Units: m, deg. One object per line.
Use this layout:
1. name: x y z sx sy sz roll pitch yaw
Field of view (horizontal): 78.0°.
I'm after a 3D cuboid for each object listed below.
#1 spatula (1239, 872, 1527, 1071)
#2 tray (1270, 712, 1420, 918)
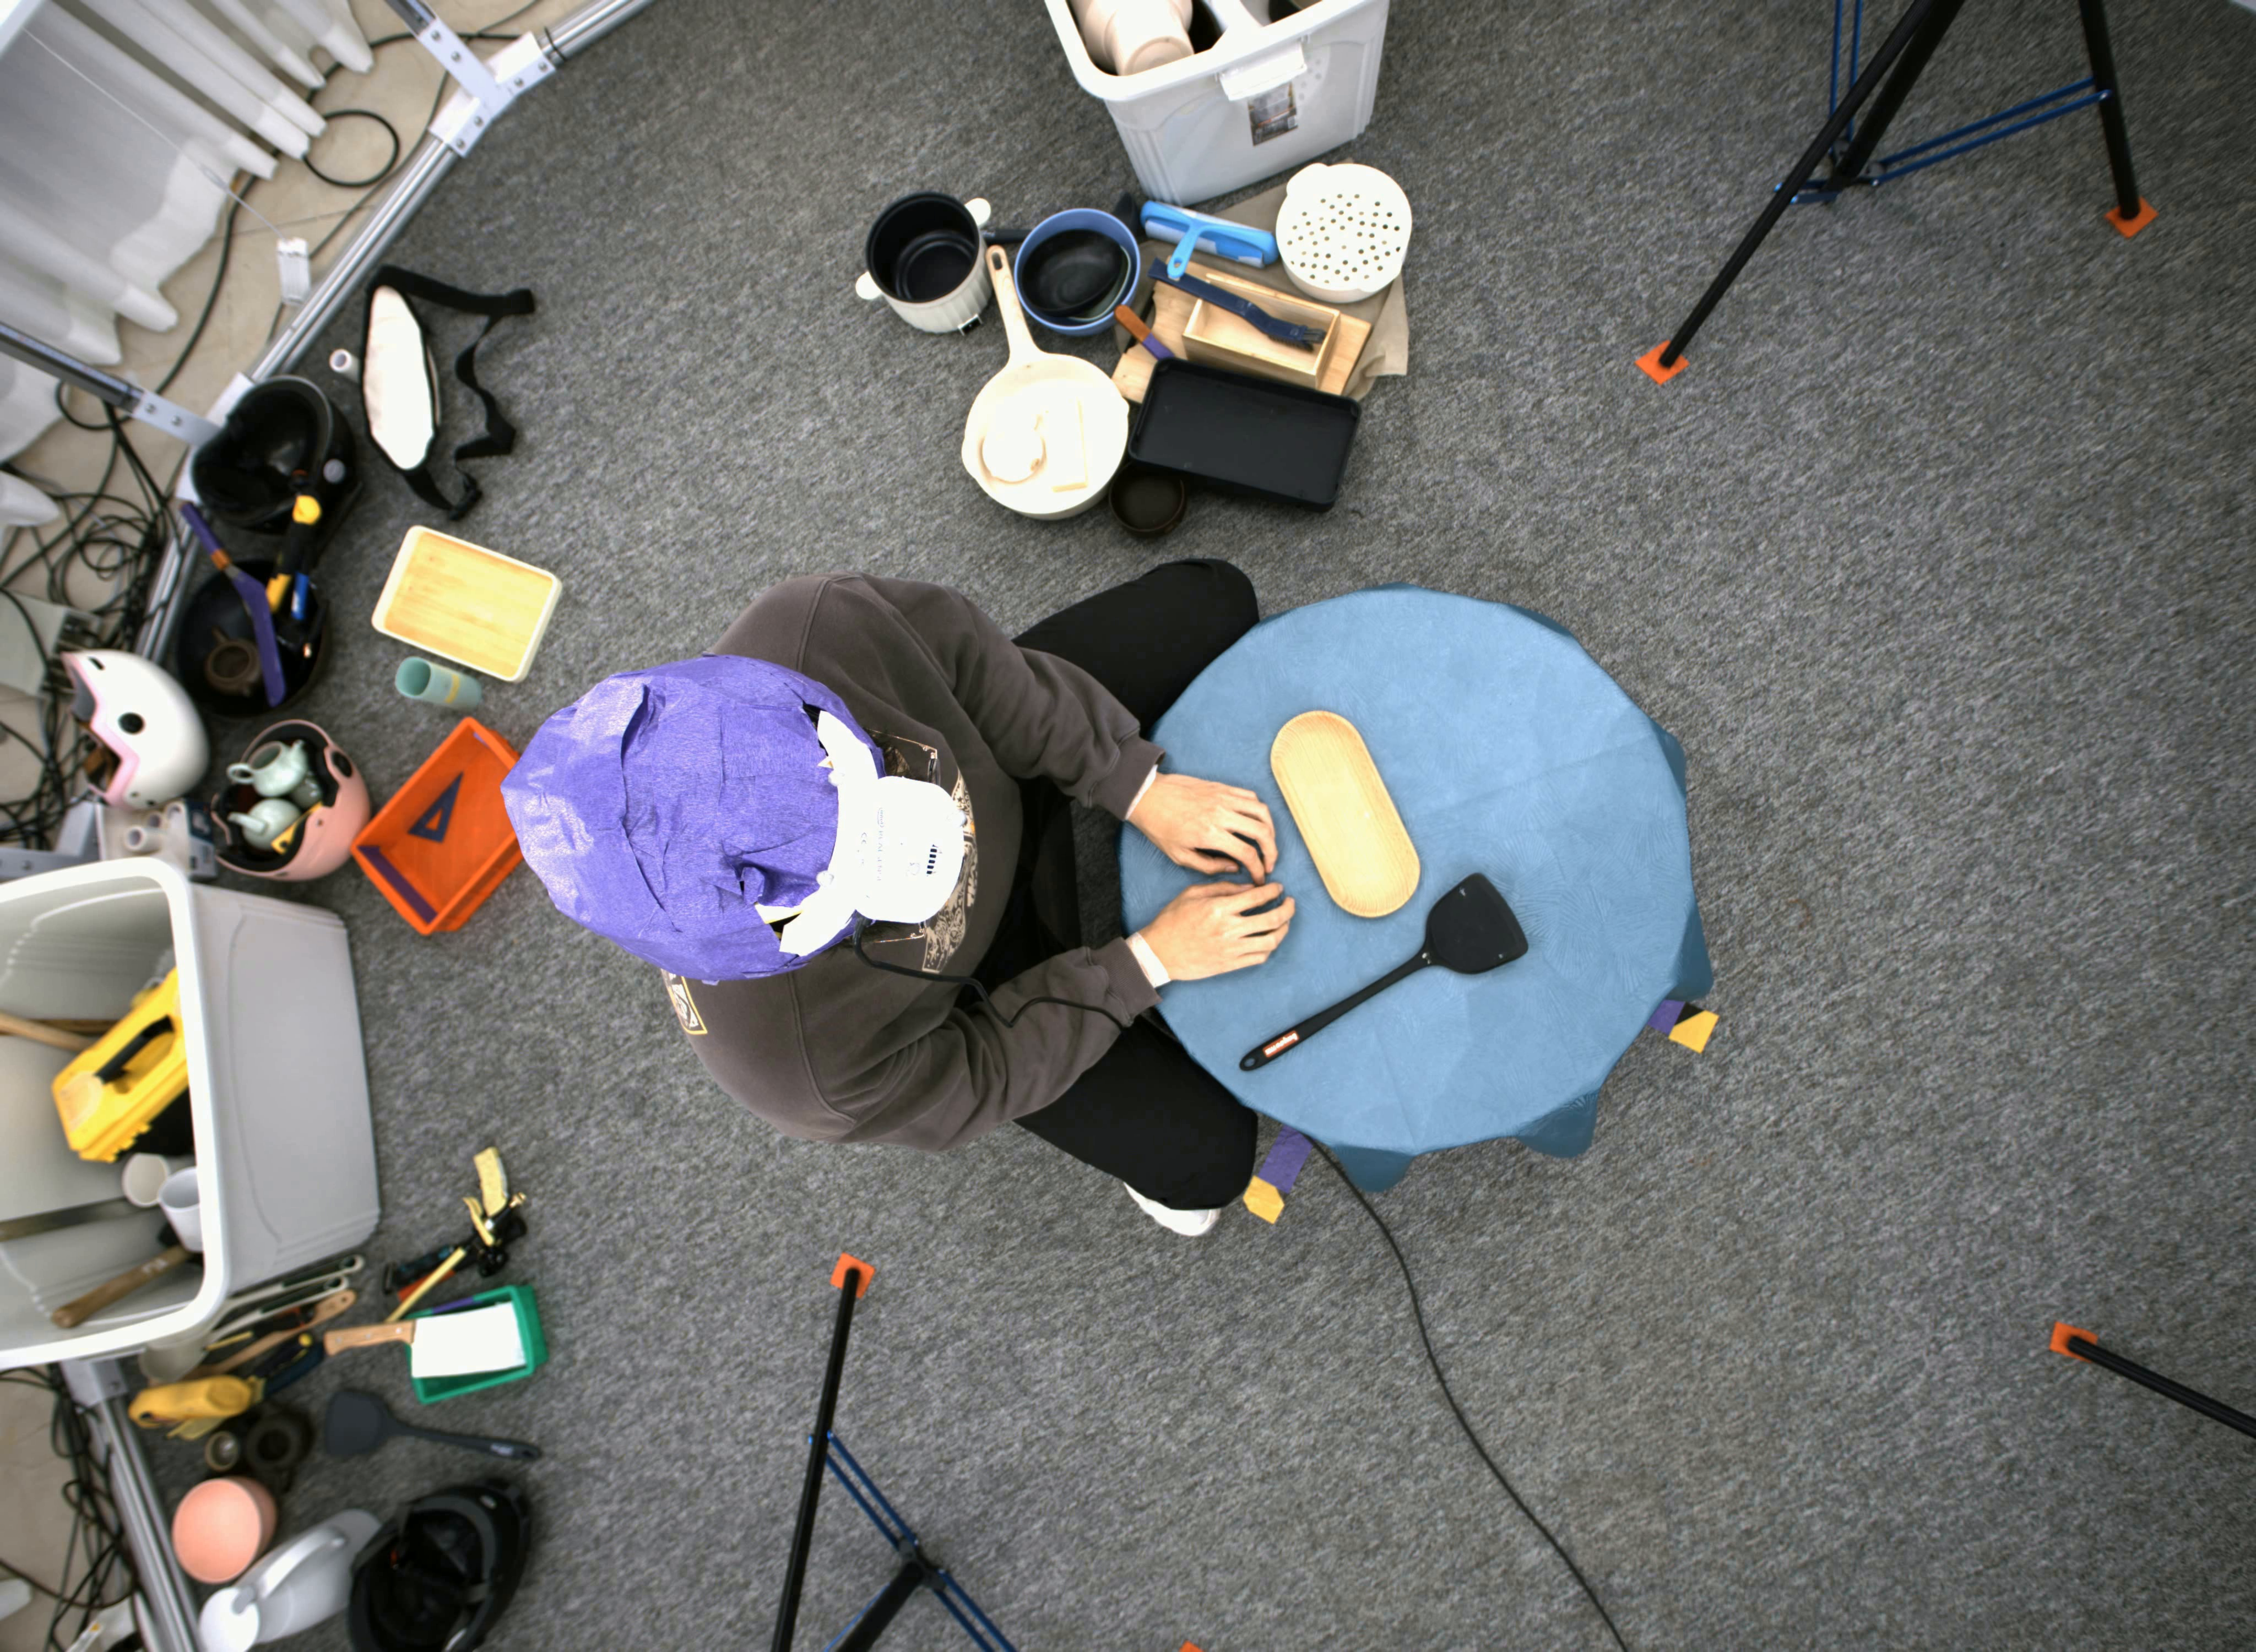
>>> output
1. spatula: 0.253 0.168 1.438 0.328 0.040 0.099 -32 81 7
2. tray: 0.229 -0.013 1.461 0.102 0.020 0.230 -25 84 9
